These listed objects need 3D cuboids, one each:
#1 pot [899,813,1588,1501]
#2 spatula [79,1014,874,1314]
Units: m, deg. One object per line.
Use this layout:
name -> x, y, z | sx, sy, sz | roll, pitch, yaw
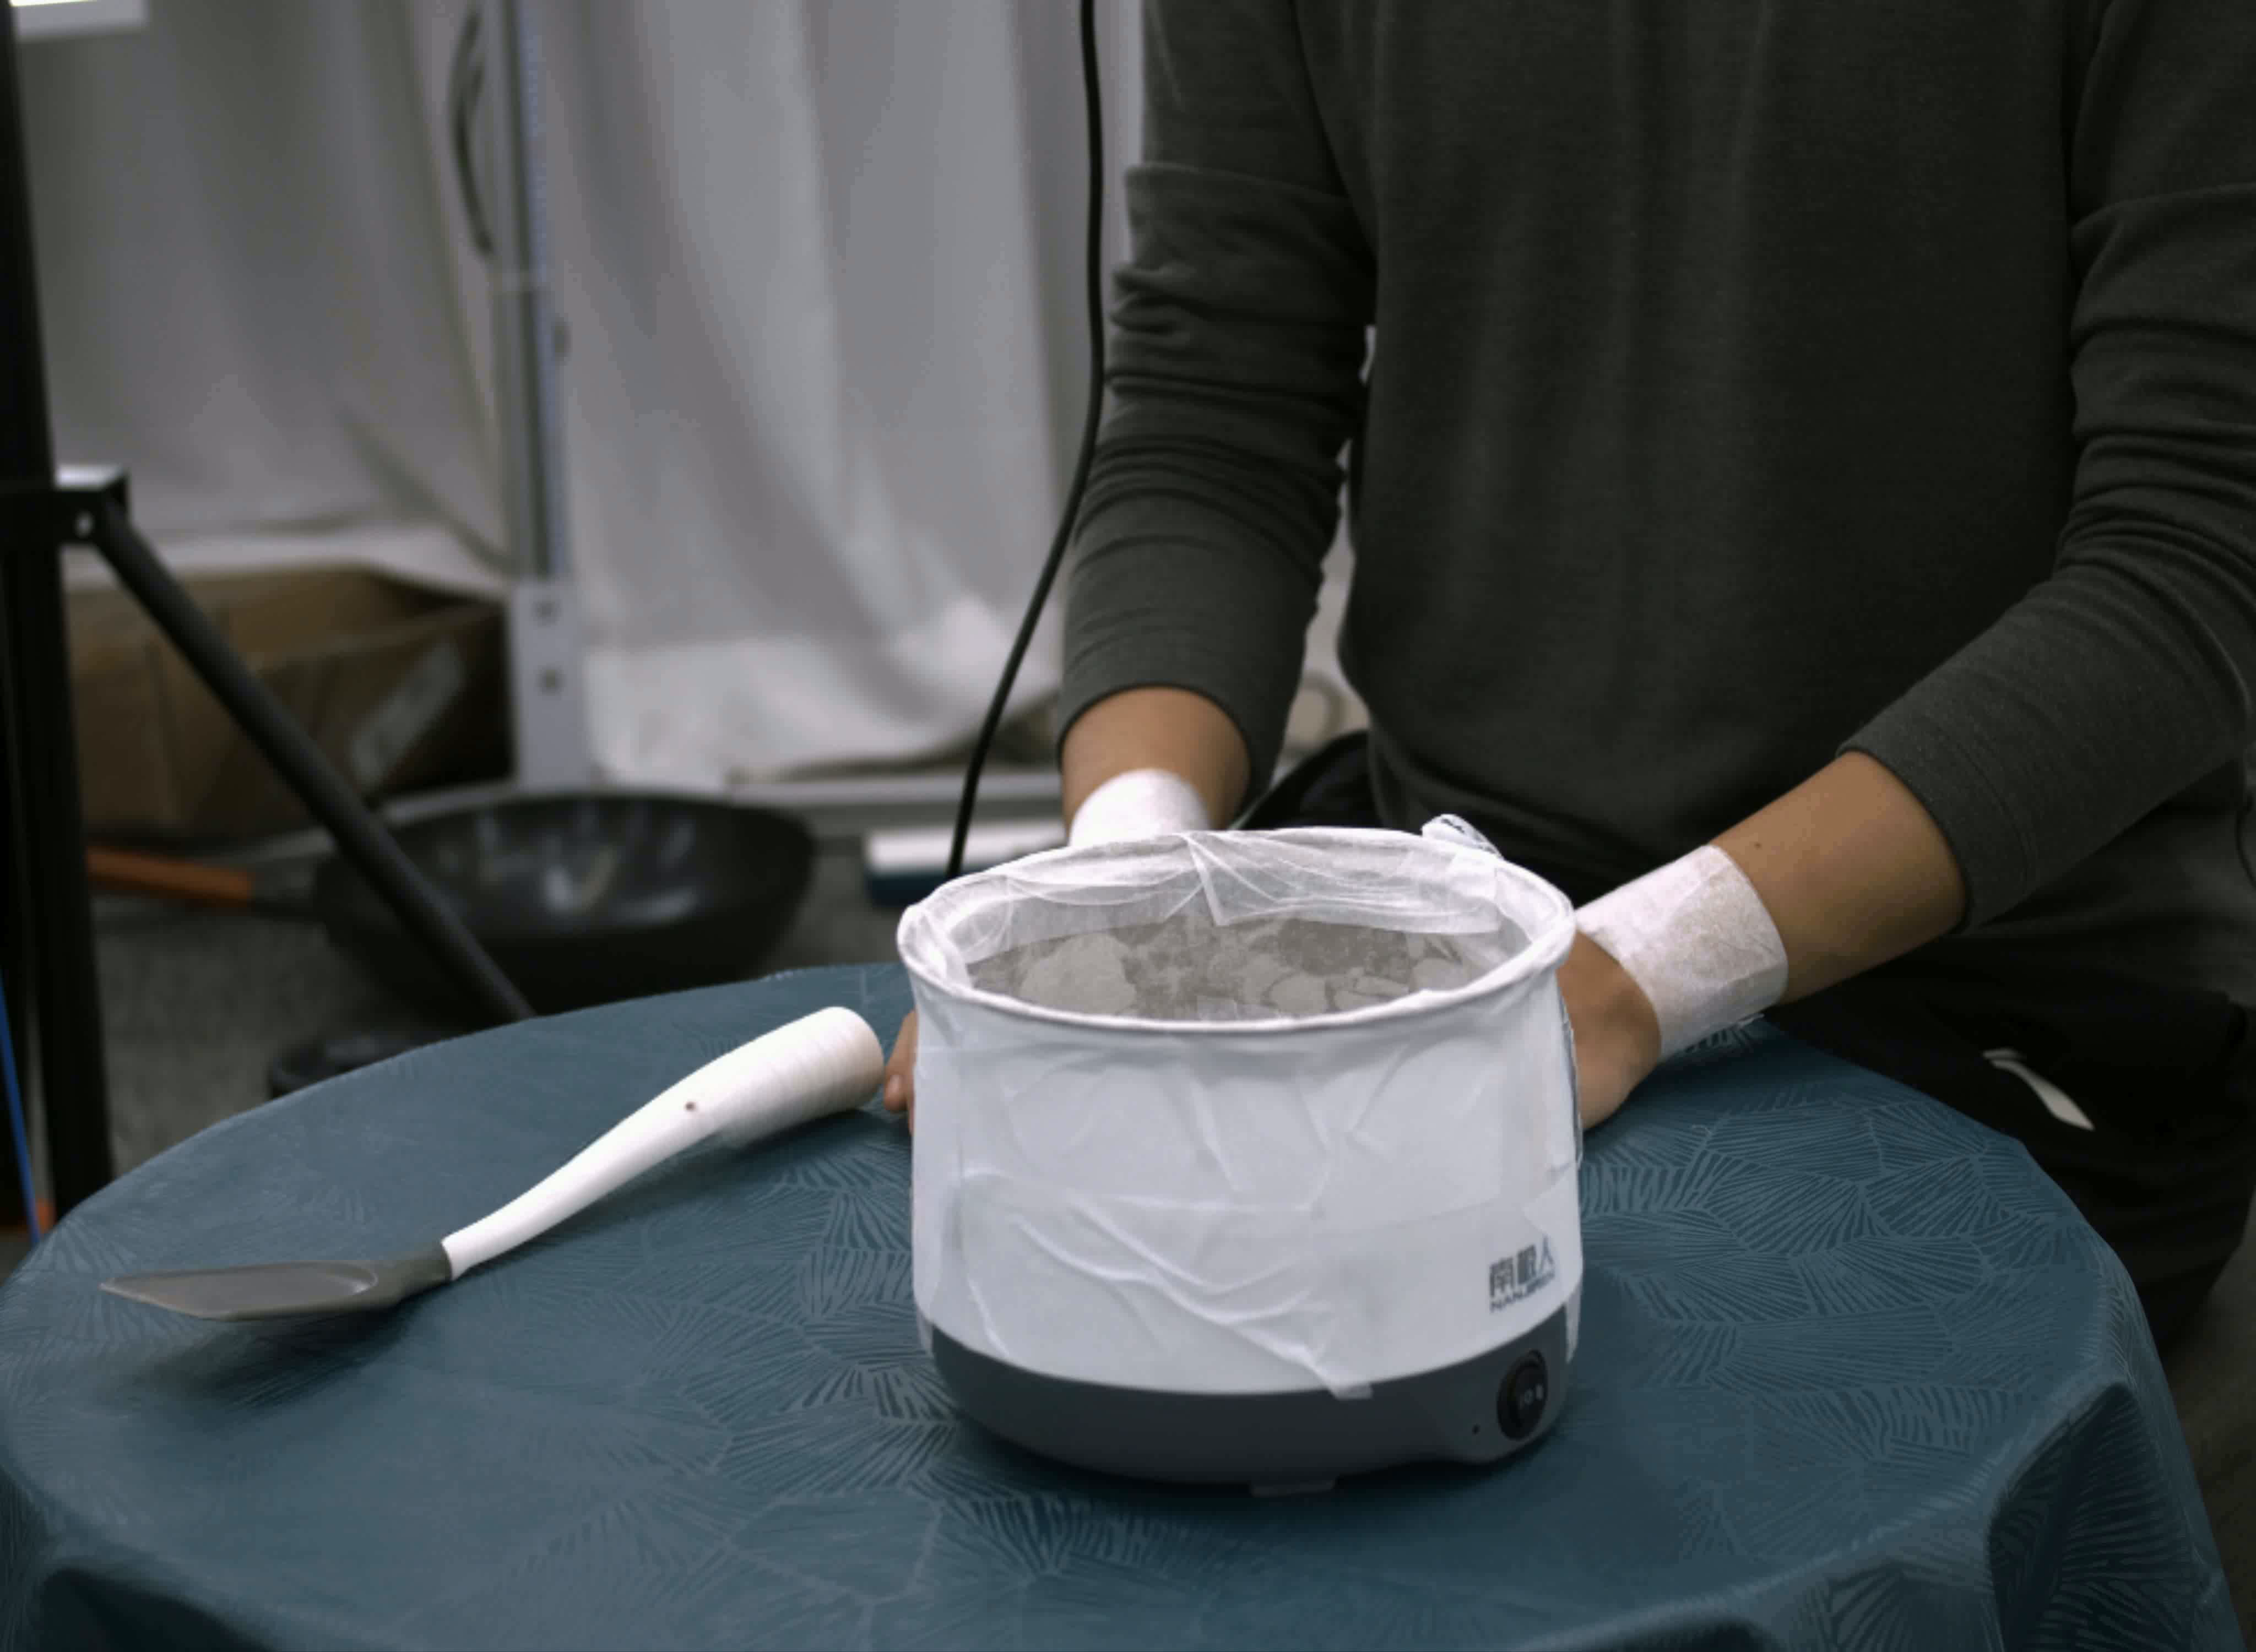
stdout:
pot -> 0.047, 0.079, 1.405 | 0.182, 0.136, 0.229 | 10, 19, 36
spatula -> -0.178, 0.105, 1.541 | 0.060, 0.032, 0.281 | 14, 22, 37
